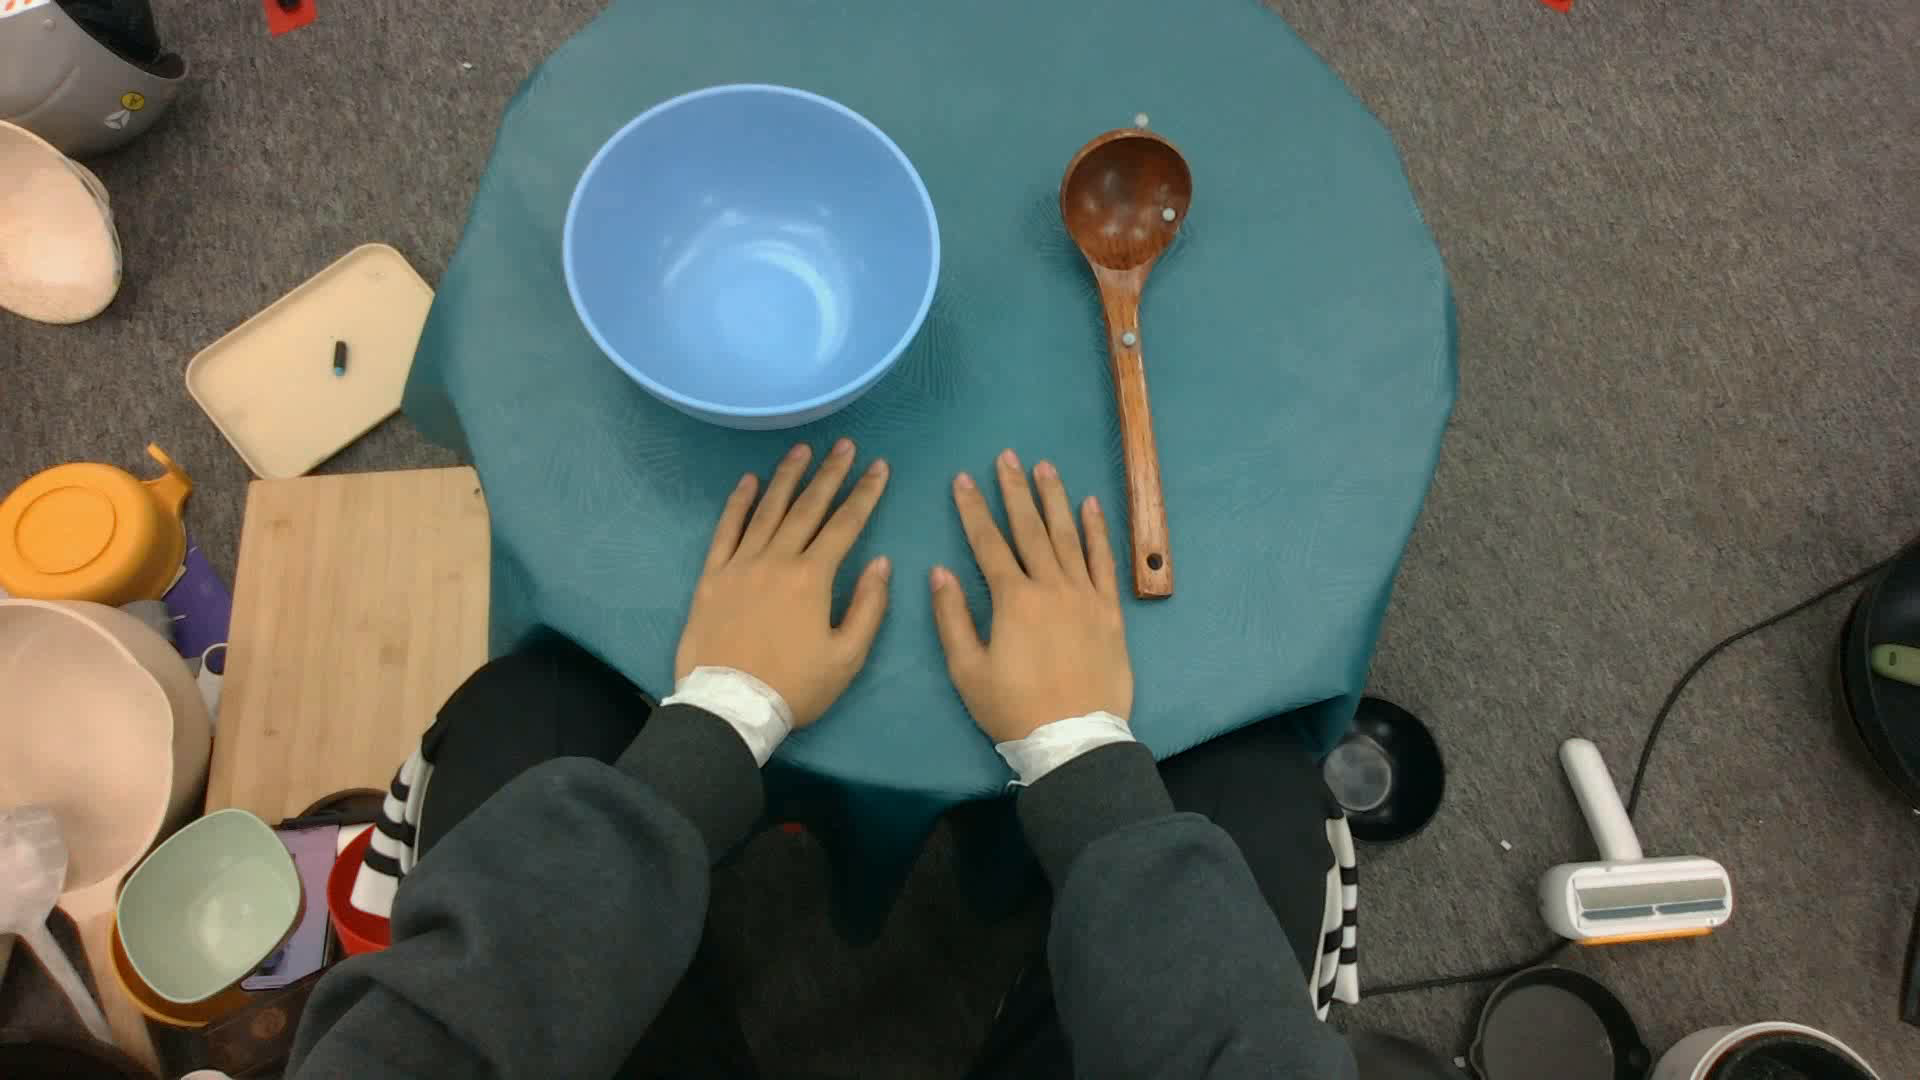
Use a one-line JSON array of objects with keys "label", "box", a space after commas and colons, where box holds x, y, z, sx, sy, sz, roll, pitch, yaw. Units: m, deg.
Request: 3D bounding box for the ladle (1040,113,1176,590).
[{"label": "ladle", "box": [0.092, -0.113, 0.786, 0.082, 0.076, 0.275, 0, 71, -9]}]

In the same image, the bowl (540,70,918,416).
[{"label": "bowl", "box": [-0.125, -0.150, 0.768, 0.196, 0.095, 0.197, 2, 73, -6]}]
